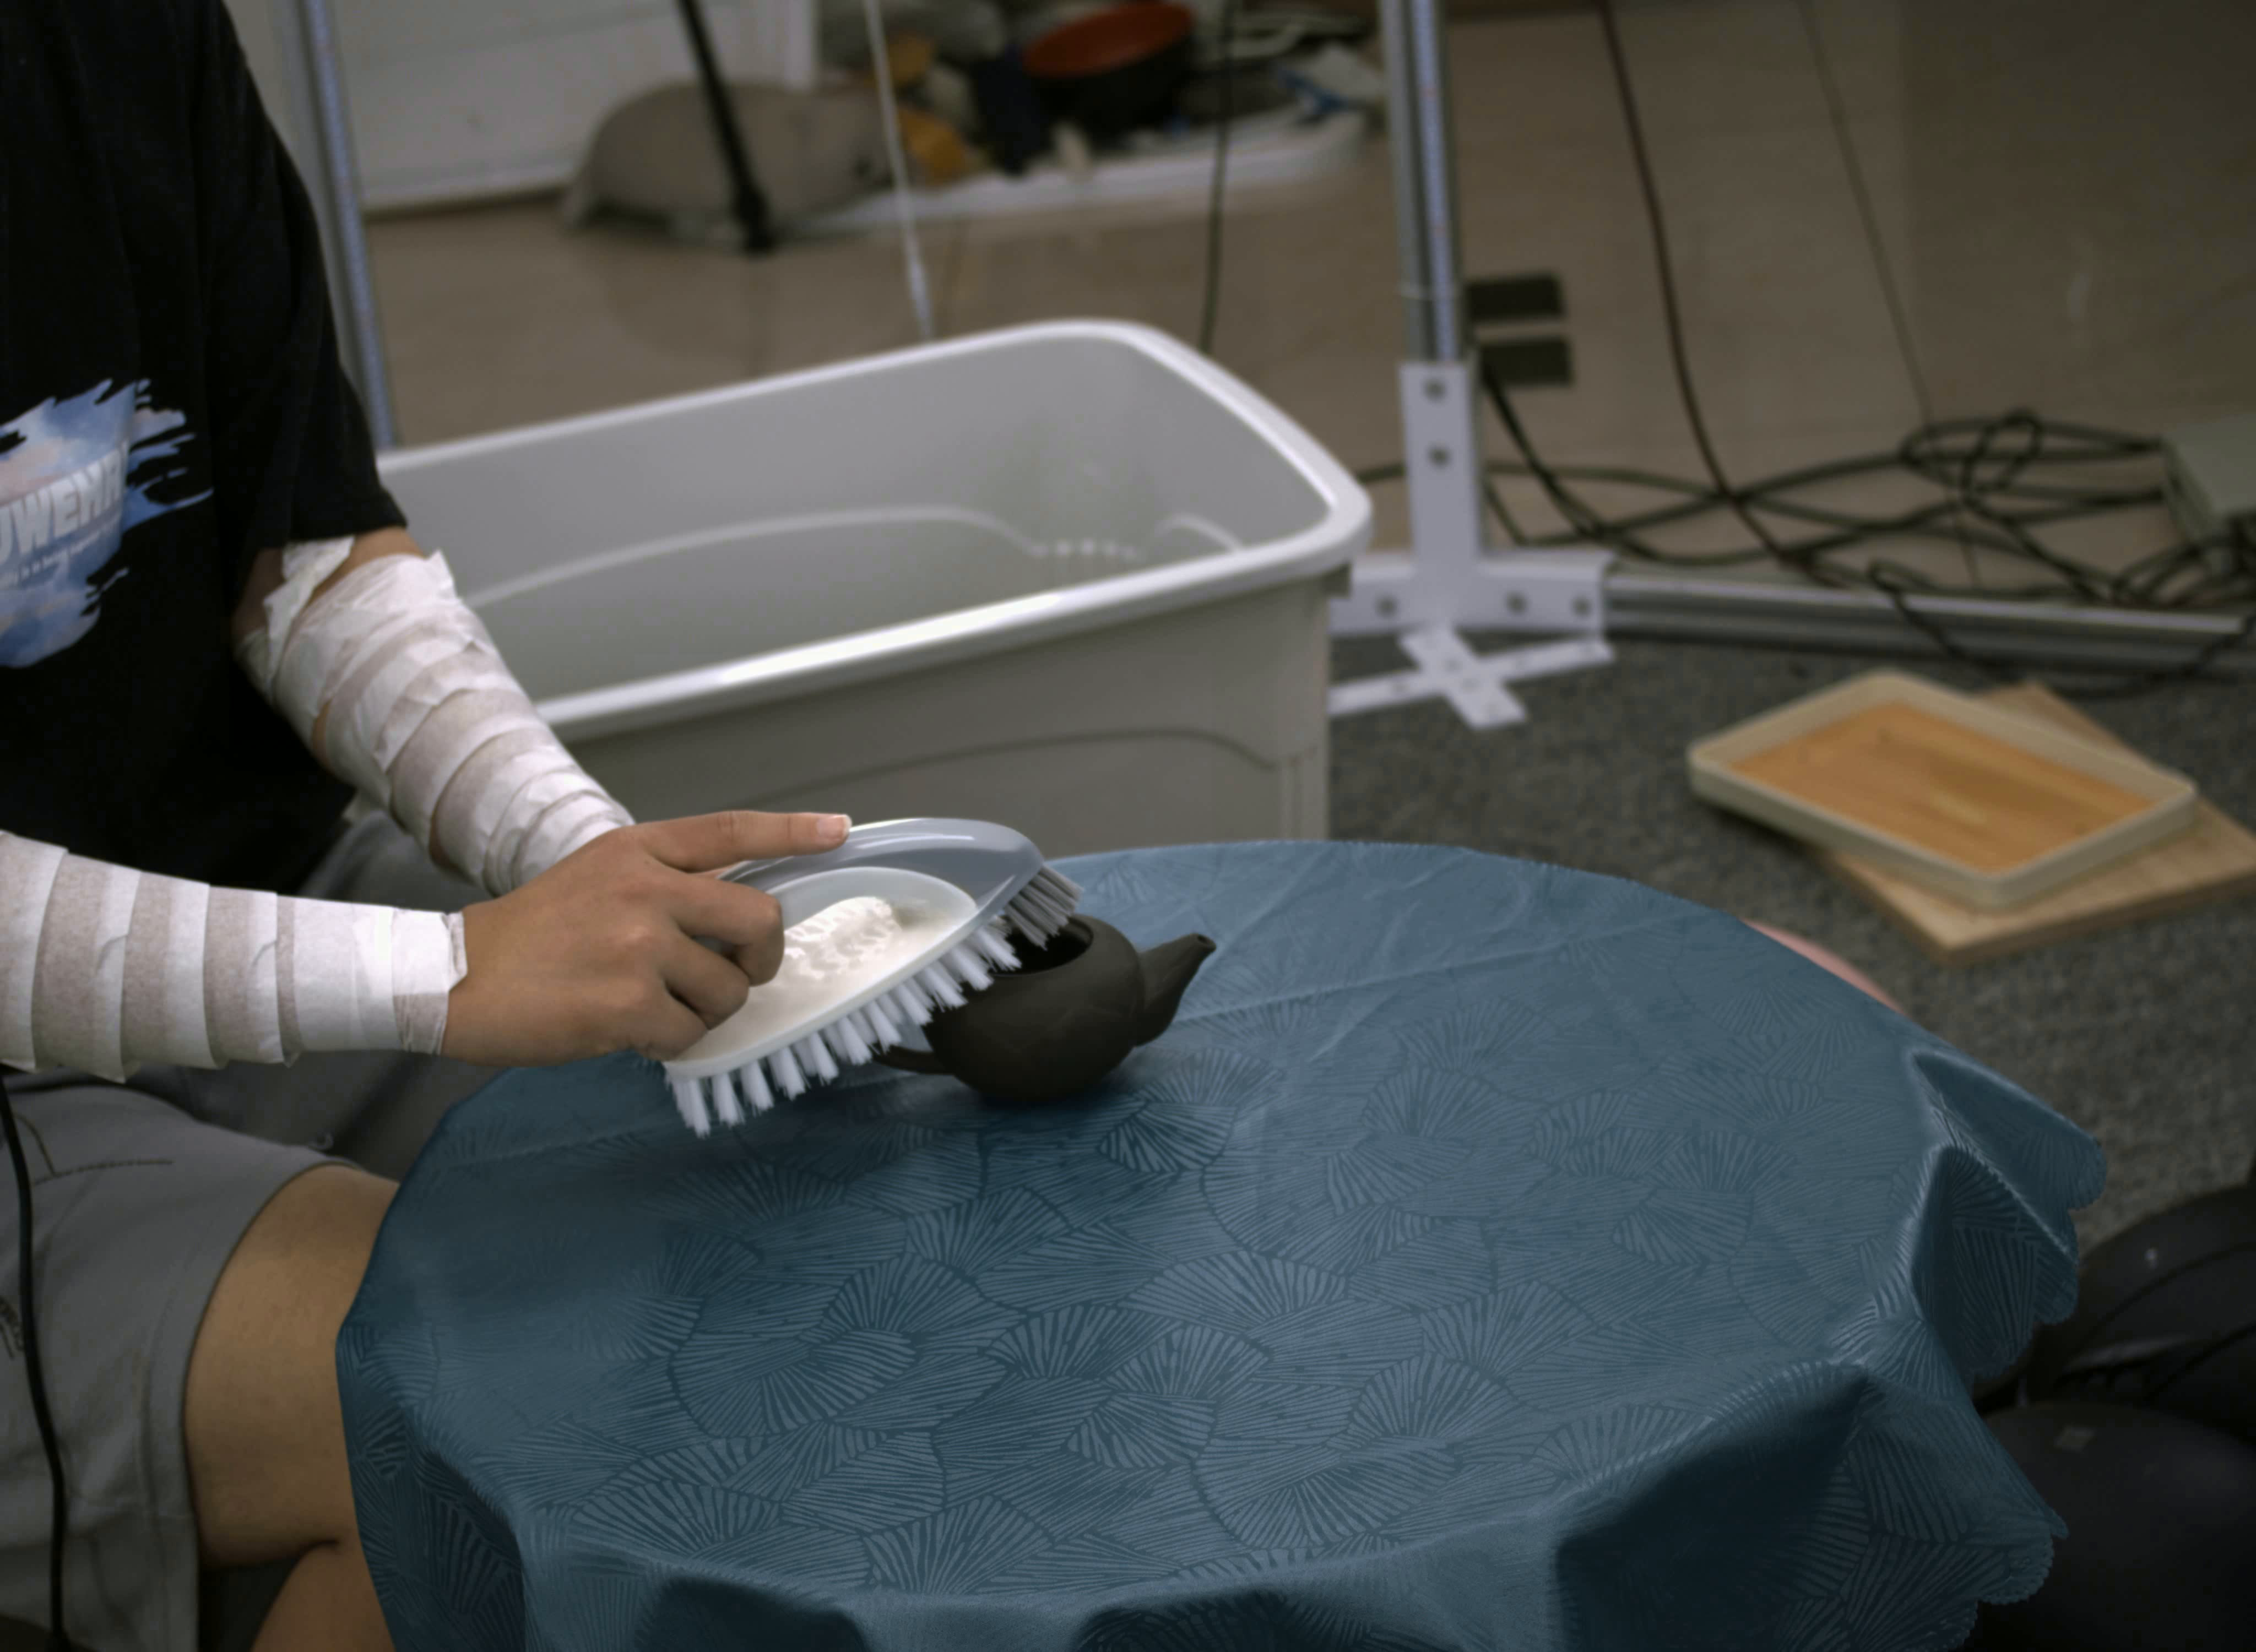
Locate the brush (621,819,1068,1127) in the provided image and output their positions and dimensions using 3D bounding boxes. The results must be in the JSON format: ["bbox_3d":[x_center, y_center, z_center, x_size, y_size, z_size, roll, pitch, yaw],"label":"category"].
[{"bbox_3d":[-0.112,0.039,2.172,0.175,0.096,0.060,-25,48,-2],"label":"brush"}]

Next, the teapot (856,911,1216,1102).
[{"bbox_3d":[-0.041,0.070,2.230,0.154,0.065,0.091,-4,25,2],"label":"teapot"}]
